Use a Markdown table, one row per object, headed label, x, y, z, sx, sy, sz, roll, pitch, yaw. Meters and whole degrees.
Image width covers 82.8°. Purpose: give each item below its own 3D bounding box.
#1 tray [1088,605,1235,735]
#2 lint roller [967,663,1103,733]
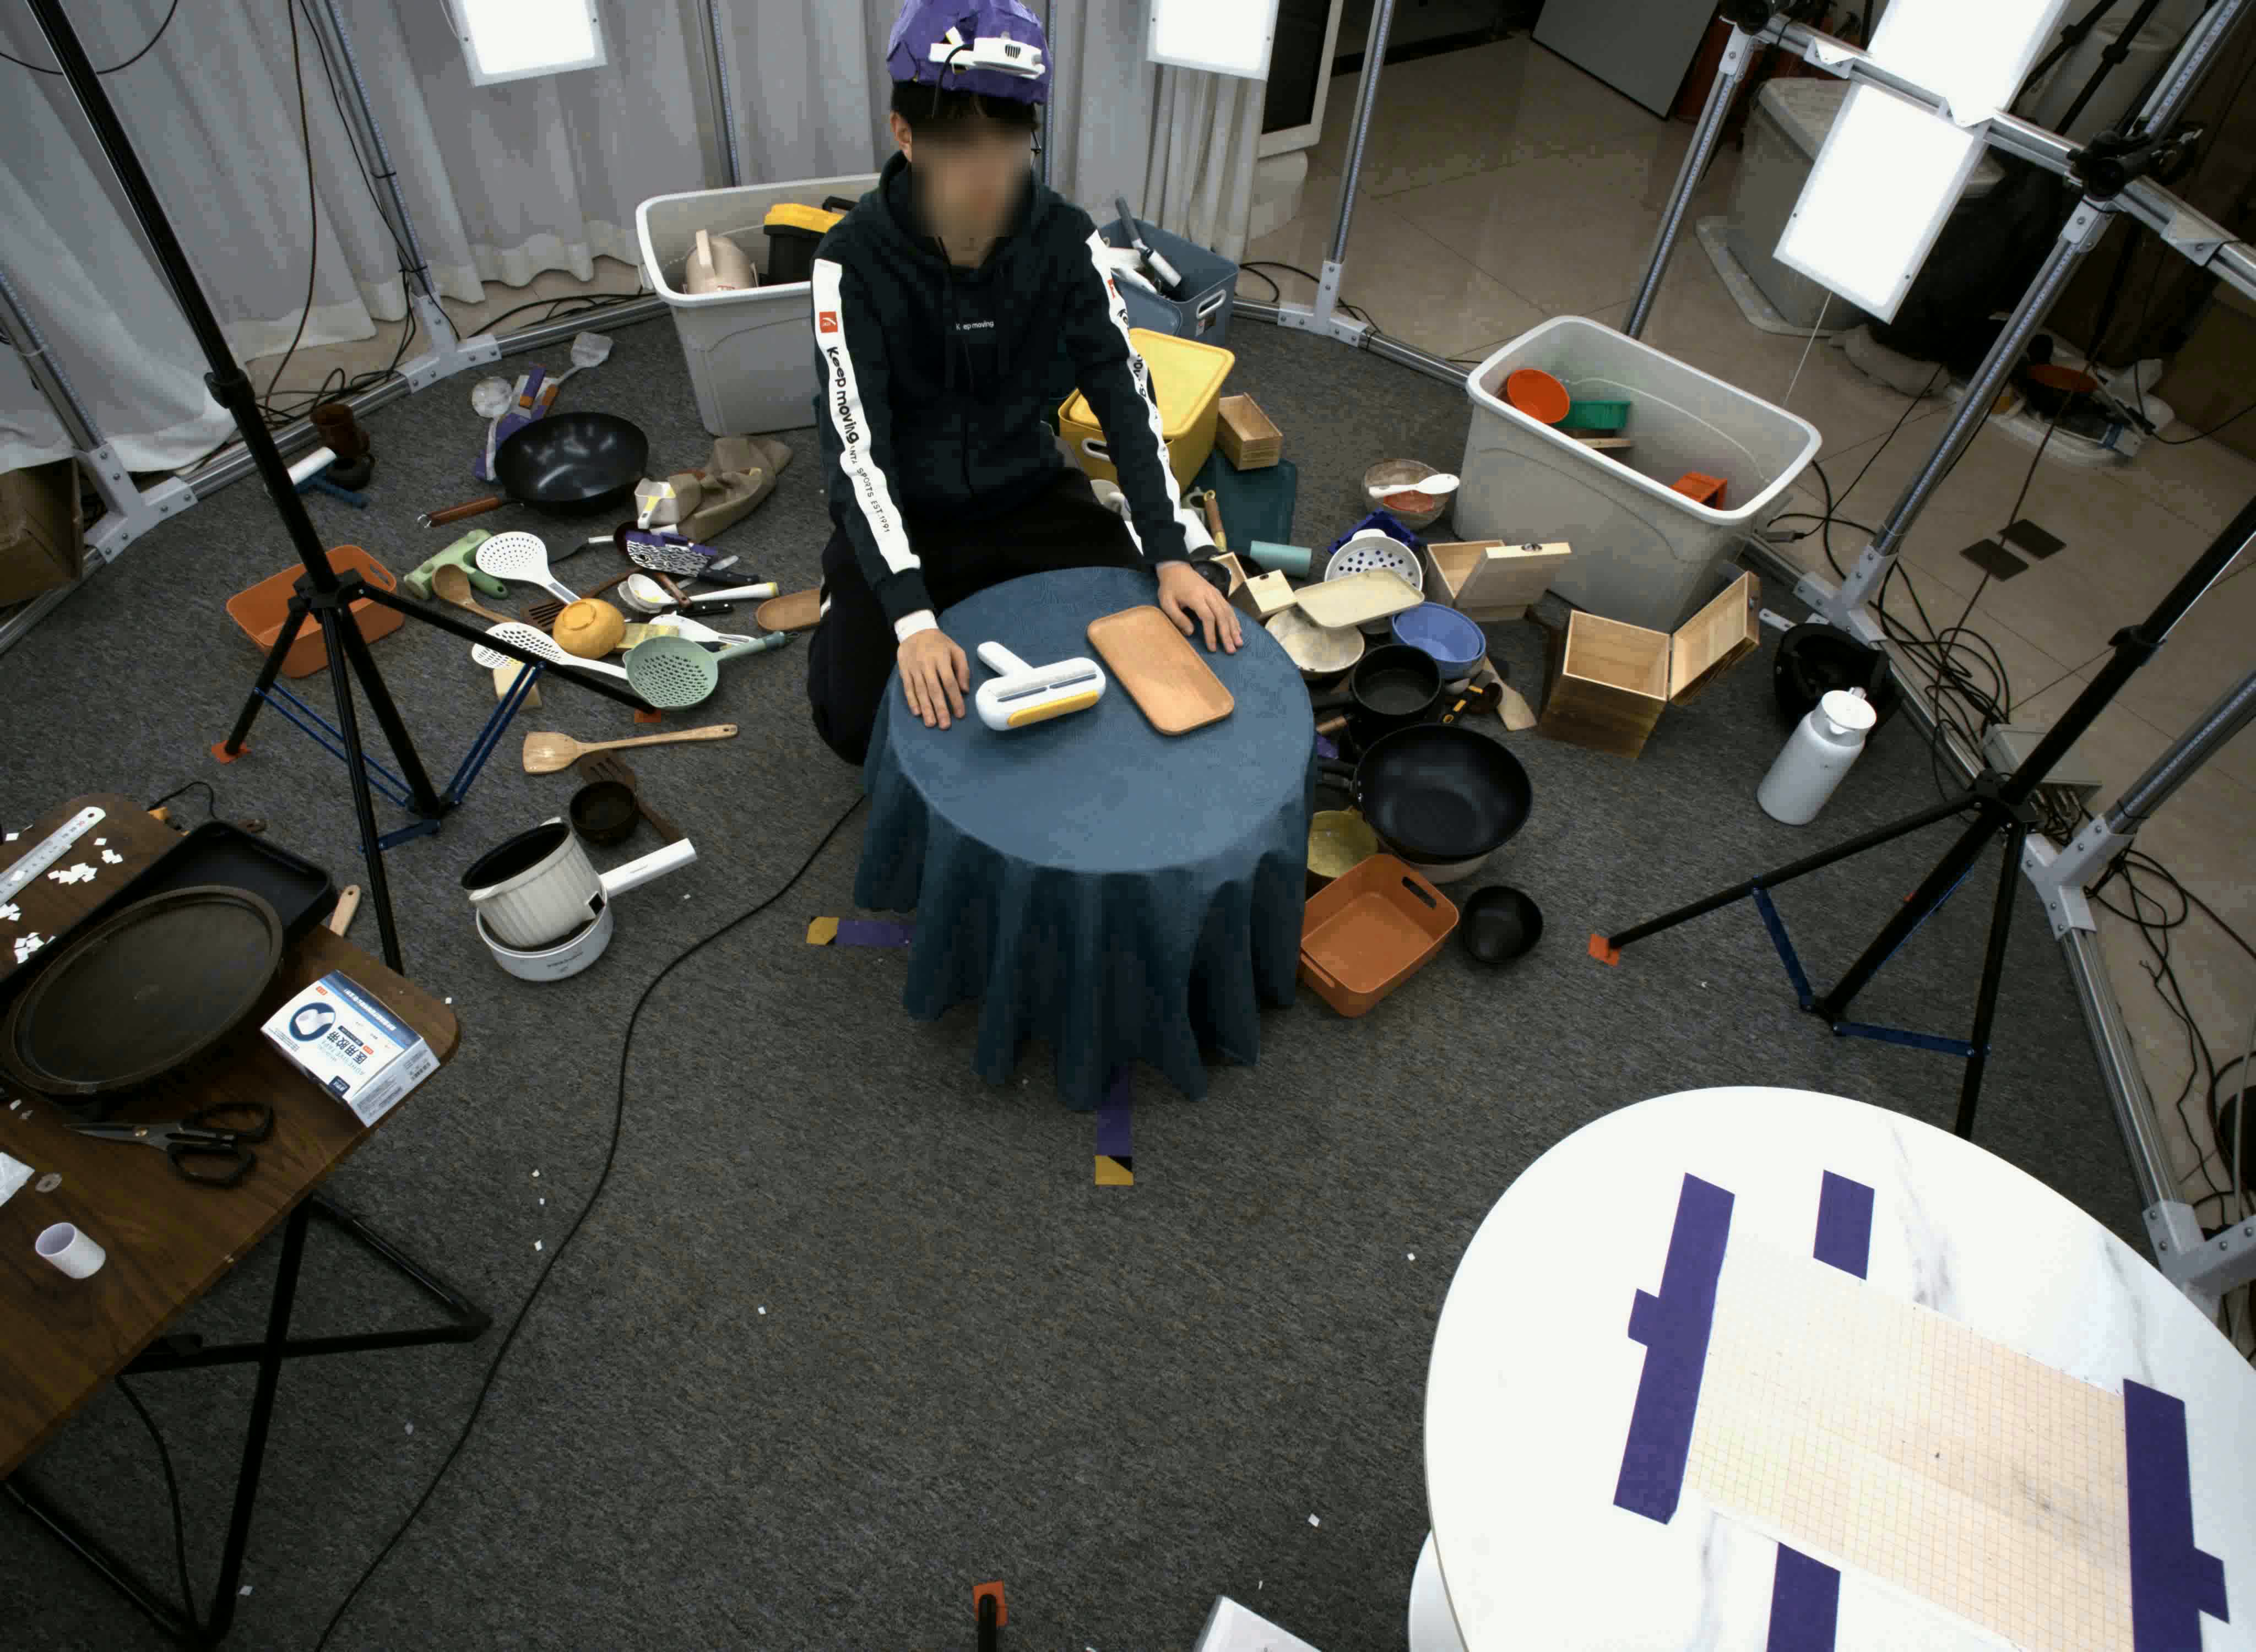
| label | x | y | z | sx | sy | sz | roll | pitch | yaw |
| --- | --- | --- | --- | --- | --- | --- | --- | --- | --- |
| tray | 0.045 | -0.228 | 1.858 | 0.131 | 0.022 | 0.256 | -18 | 52 | -21 |
| lint roller | -0.154 | -0.198 | 1.811 | 0.193 | 0.072 | 0.196 | -15 | 37 | -25 |
